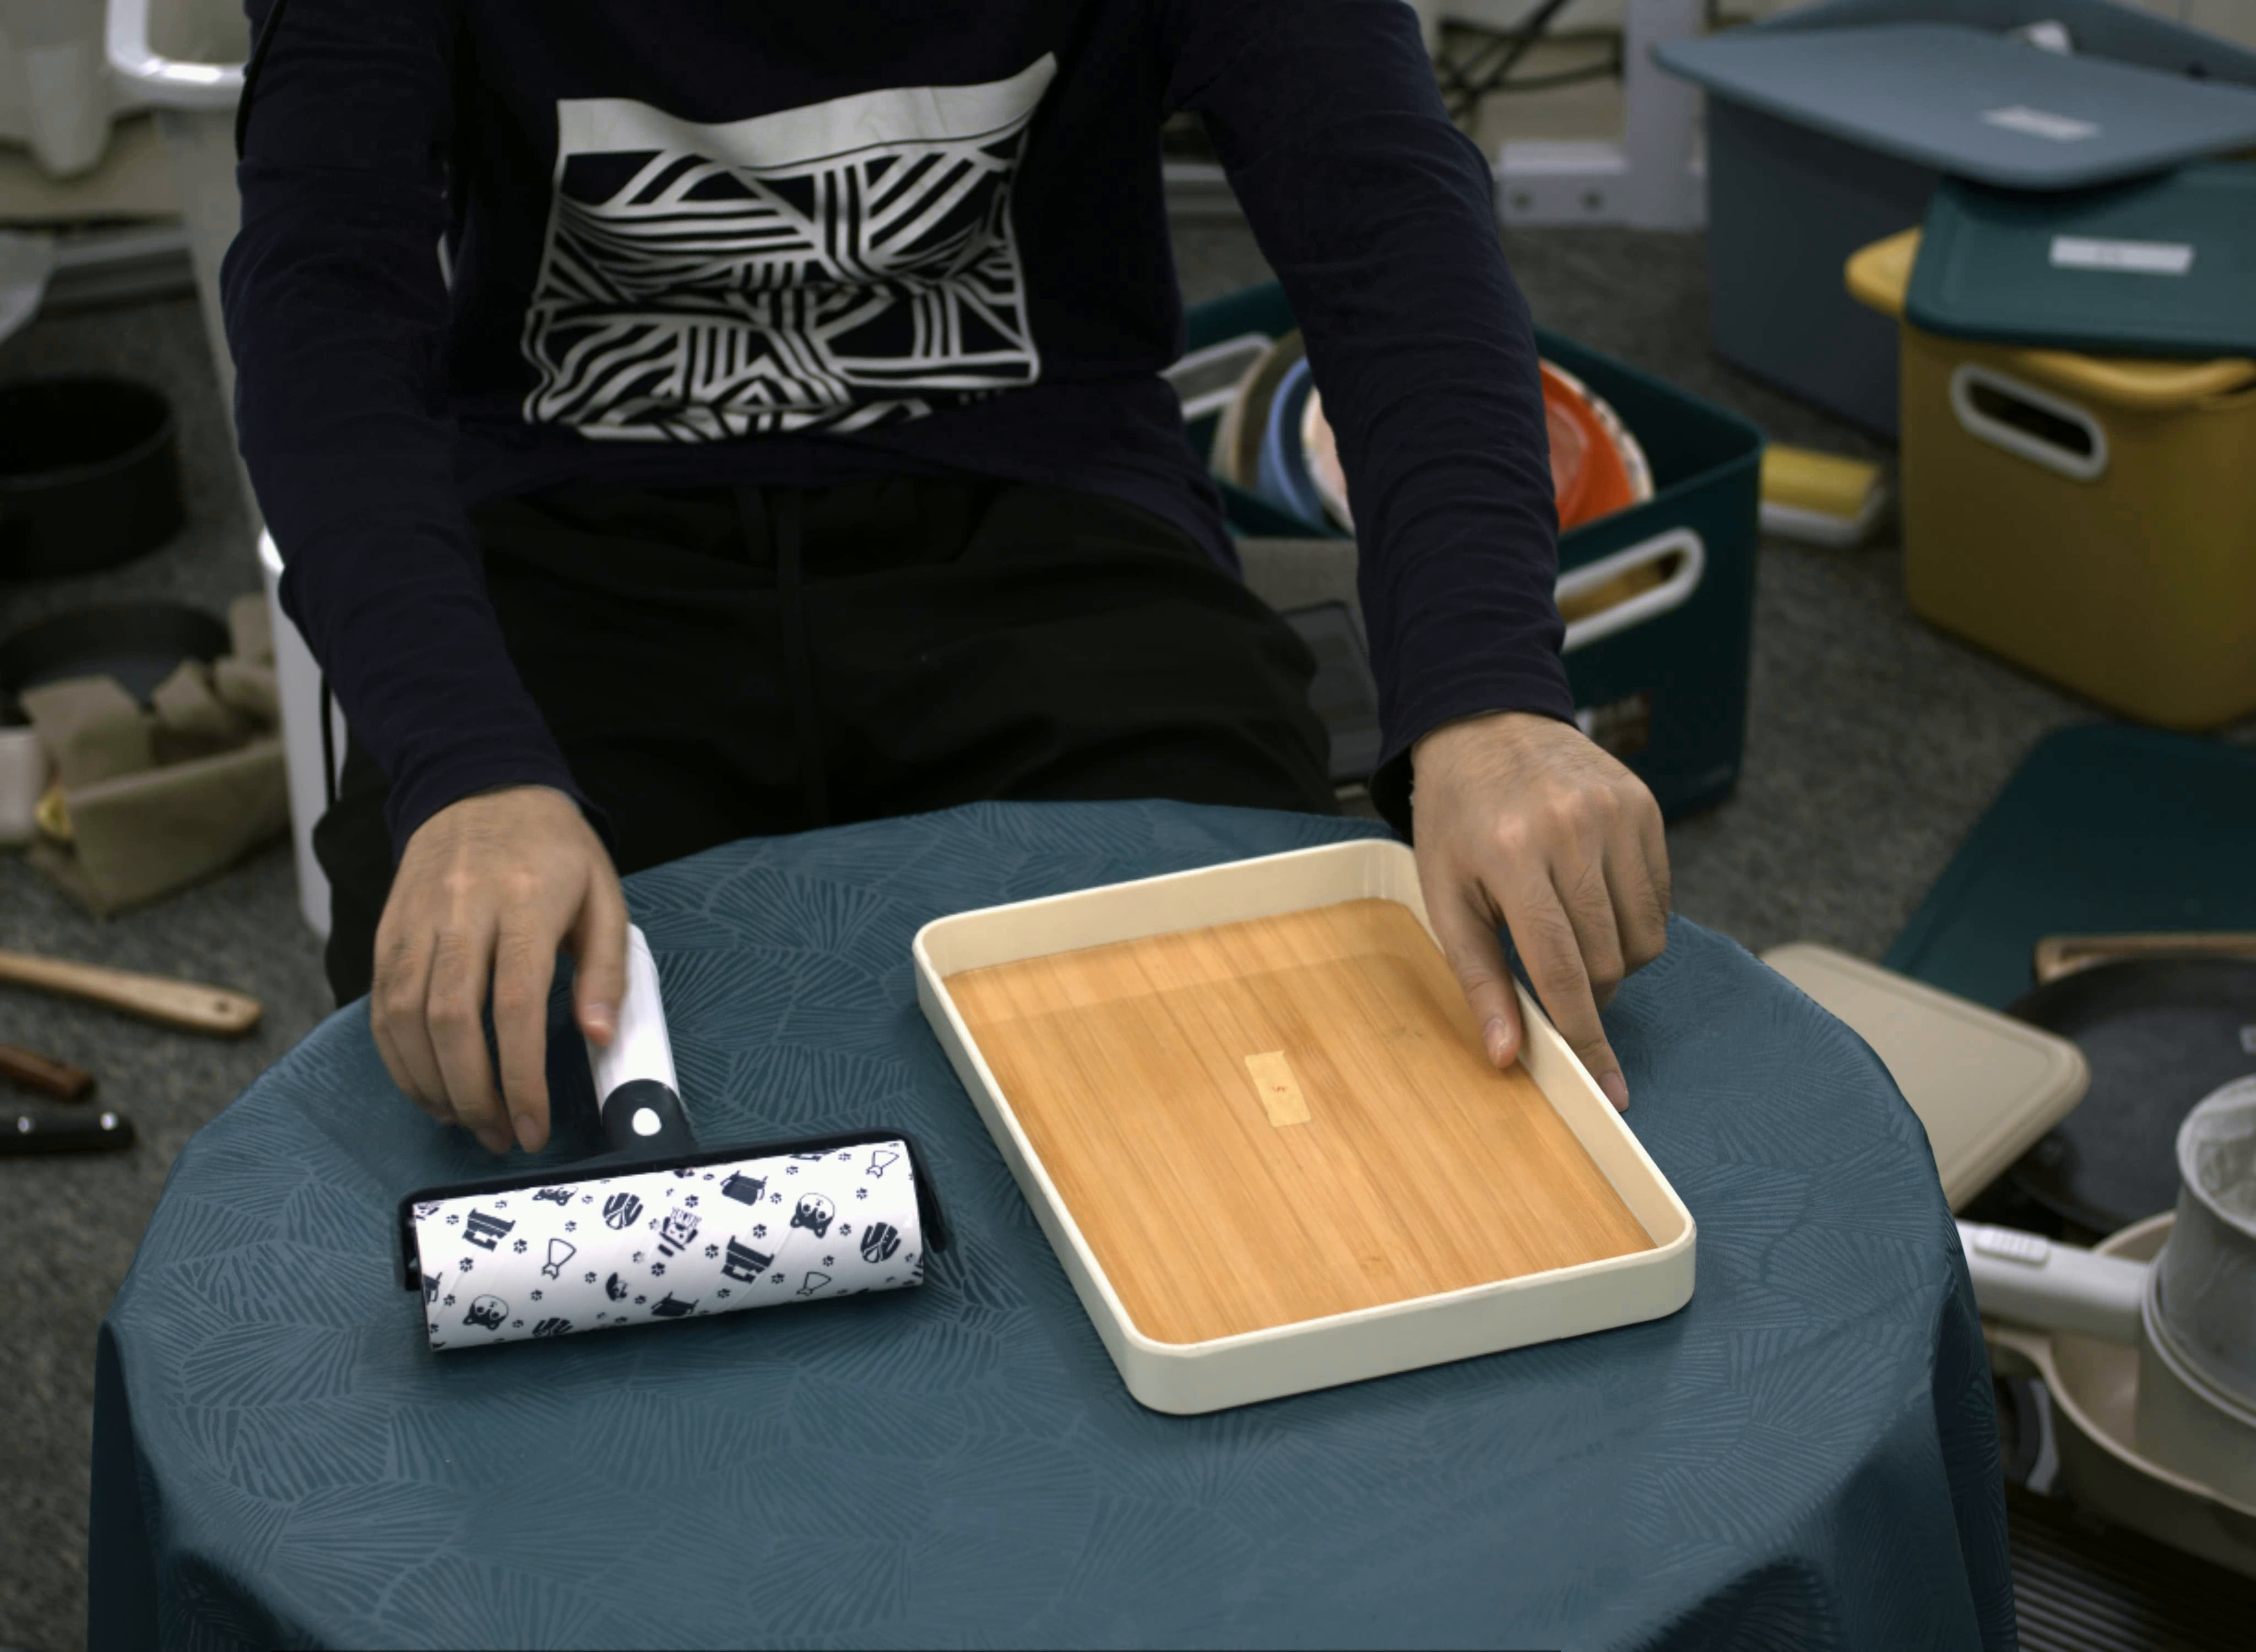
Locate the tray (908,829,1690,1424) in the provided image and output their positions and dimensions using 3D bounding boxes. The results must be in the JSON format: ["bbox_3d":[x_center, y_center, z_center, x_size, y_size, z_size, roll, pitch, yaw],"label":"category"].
[{"bbox_3d":[0.051,0.094,1.880,0.191,0.027,0.303,-12,29,-12],"label":"tray"}]

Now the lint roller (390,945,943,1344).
[{"bbox_3d":[-0.167,0.092,1.890,0.176,0.050,0.249,-8,25,-9],"label":"lint roller"}]
